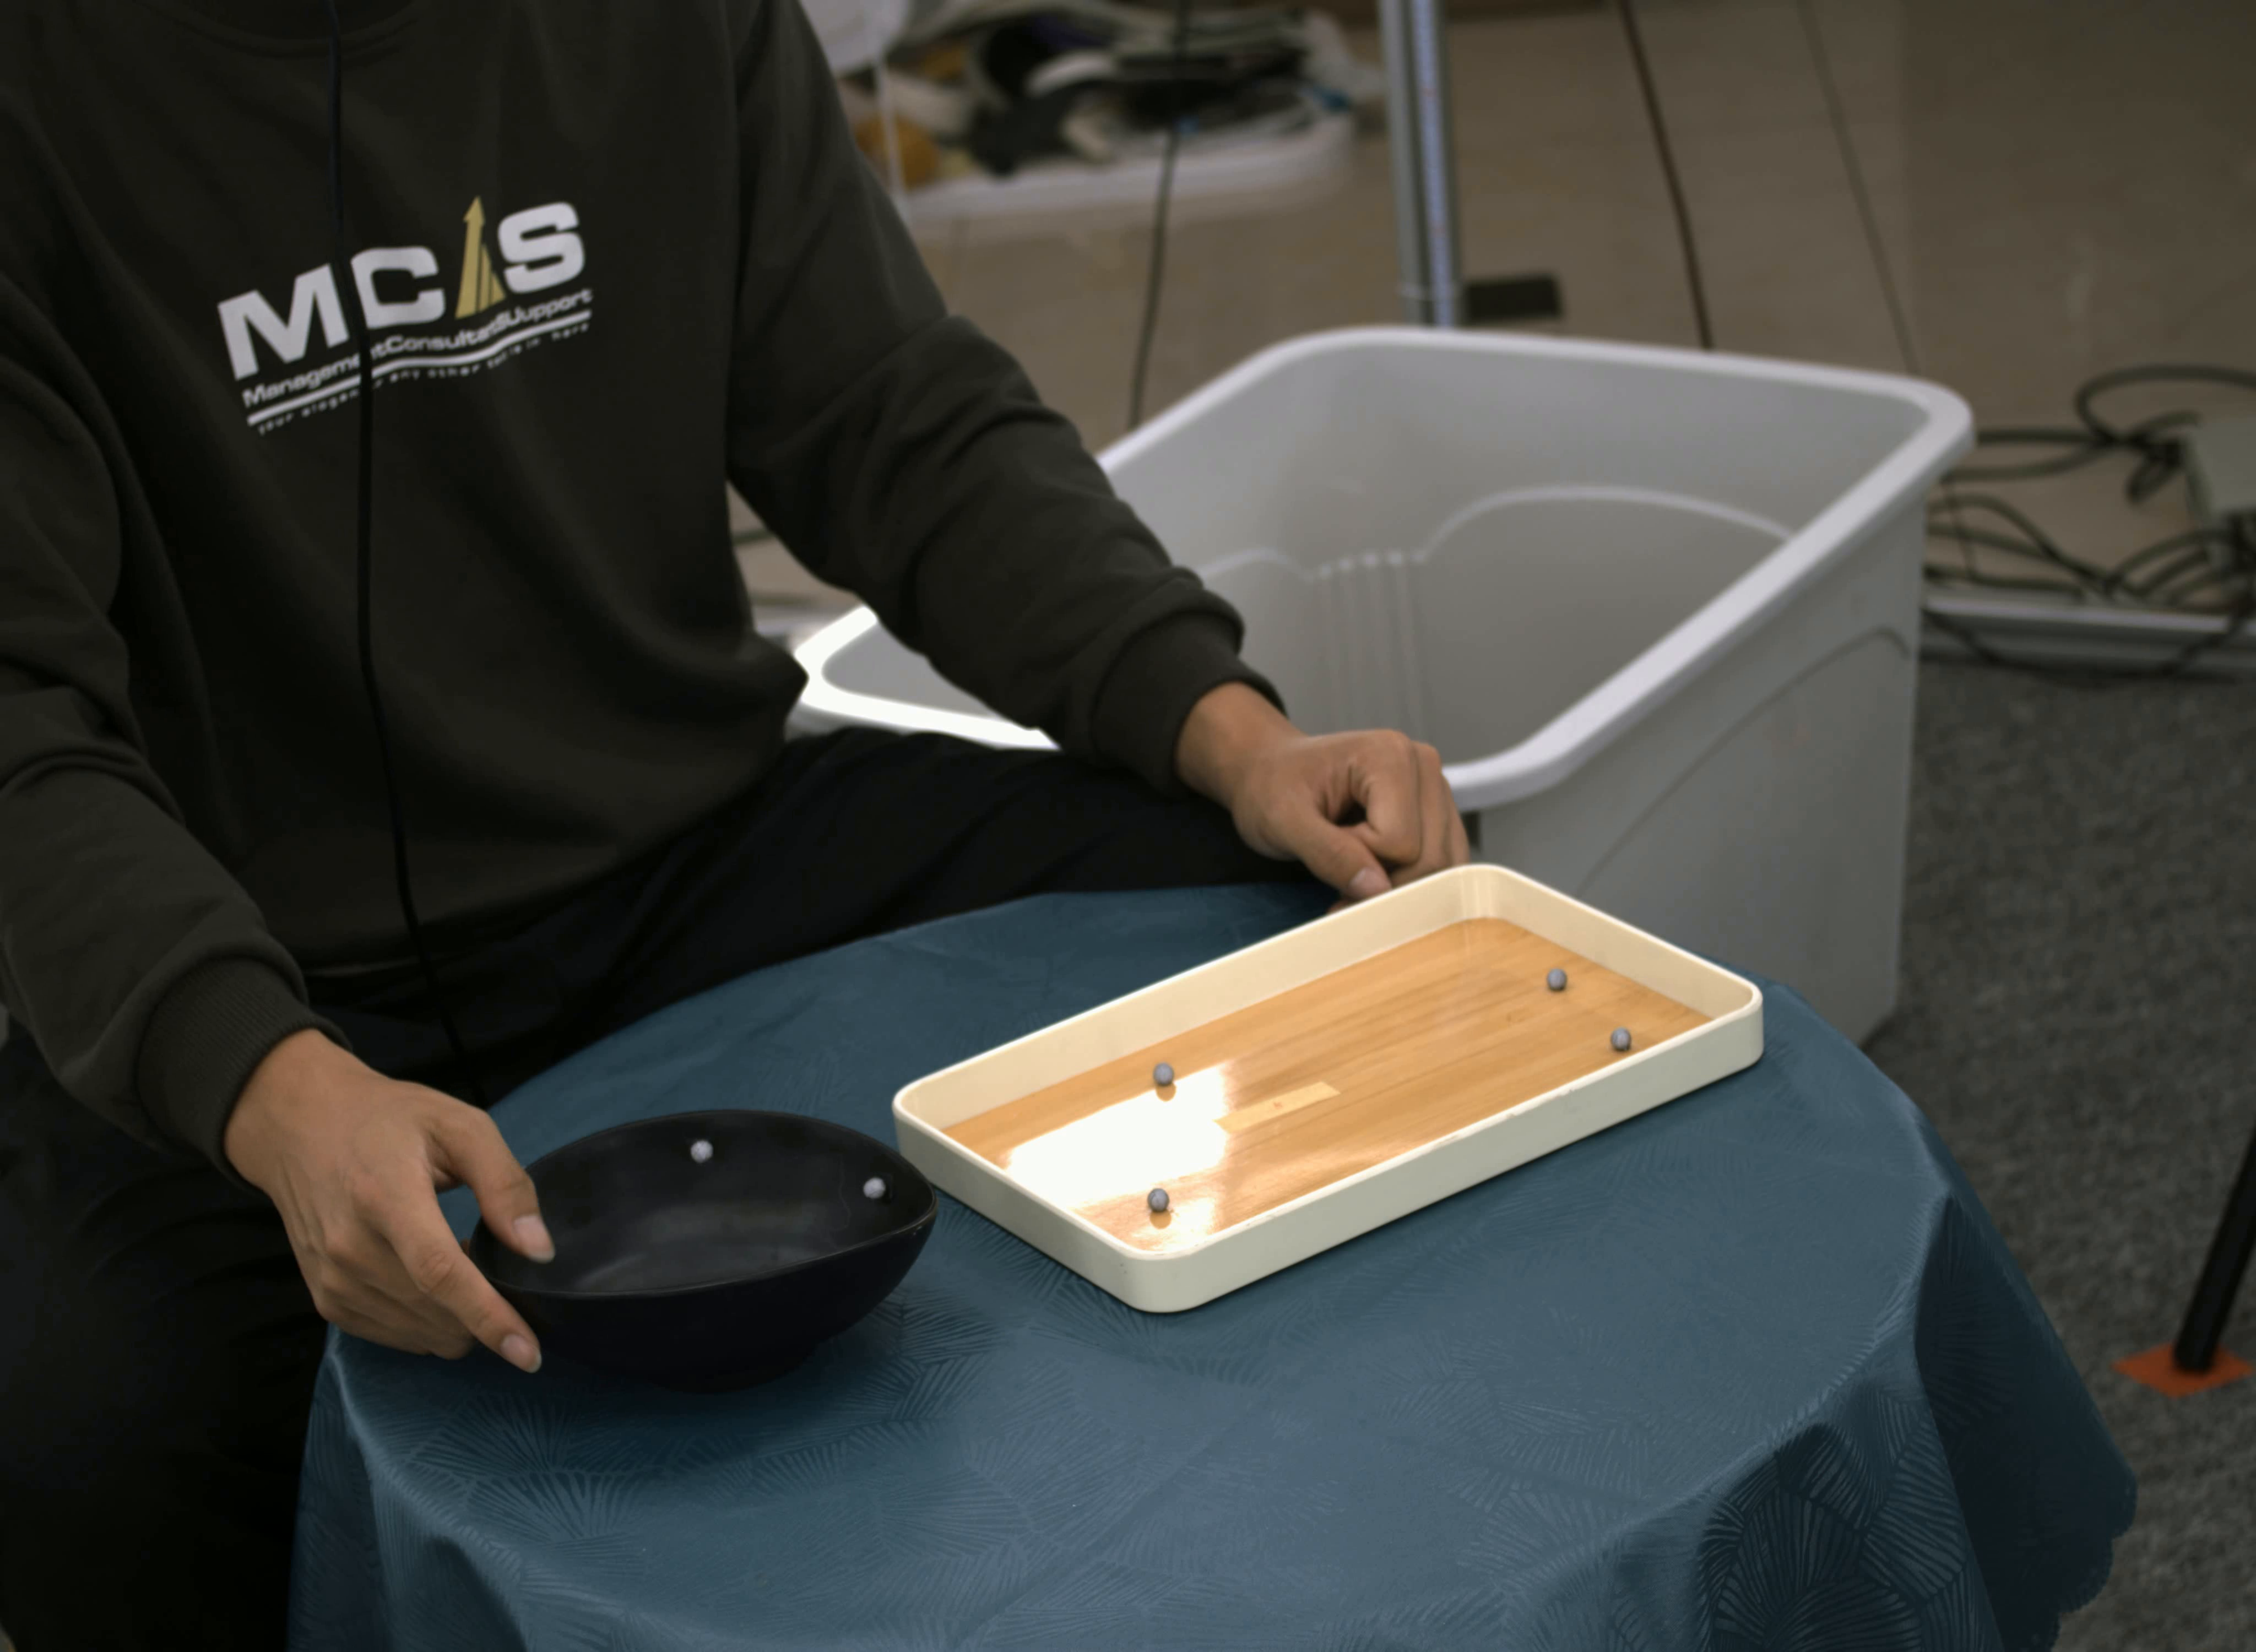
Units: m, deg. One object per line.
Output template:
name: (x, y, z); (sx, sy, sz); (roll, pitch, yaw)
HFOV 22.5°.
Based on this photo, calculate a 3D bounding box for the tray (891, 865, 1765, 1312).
tray: (0.078, 0.097, 2.187); (0.298, 0.028, 0.190); (-21, 28, -29)

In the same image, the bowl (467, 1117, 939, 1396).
bowl: (-0.152, 0.162, 2.058); (0.170, 0.068, 0.135); (-9, 26, -10)
